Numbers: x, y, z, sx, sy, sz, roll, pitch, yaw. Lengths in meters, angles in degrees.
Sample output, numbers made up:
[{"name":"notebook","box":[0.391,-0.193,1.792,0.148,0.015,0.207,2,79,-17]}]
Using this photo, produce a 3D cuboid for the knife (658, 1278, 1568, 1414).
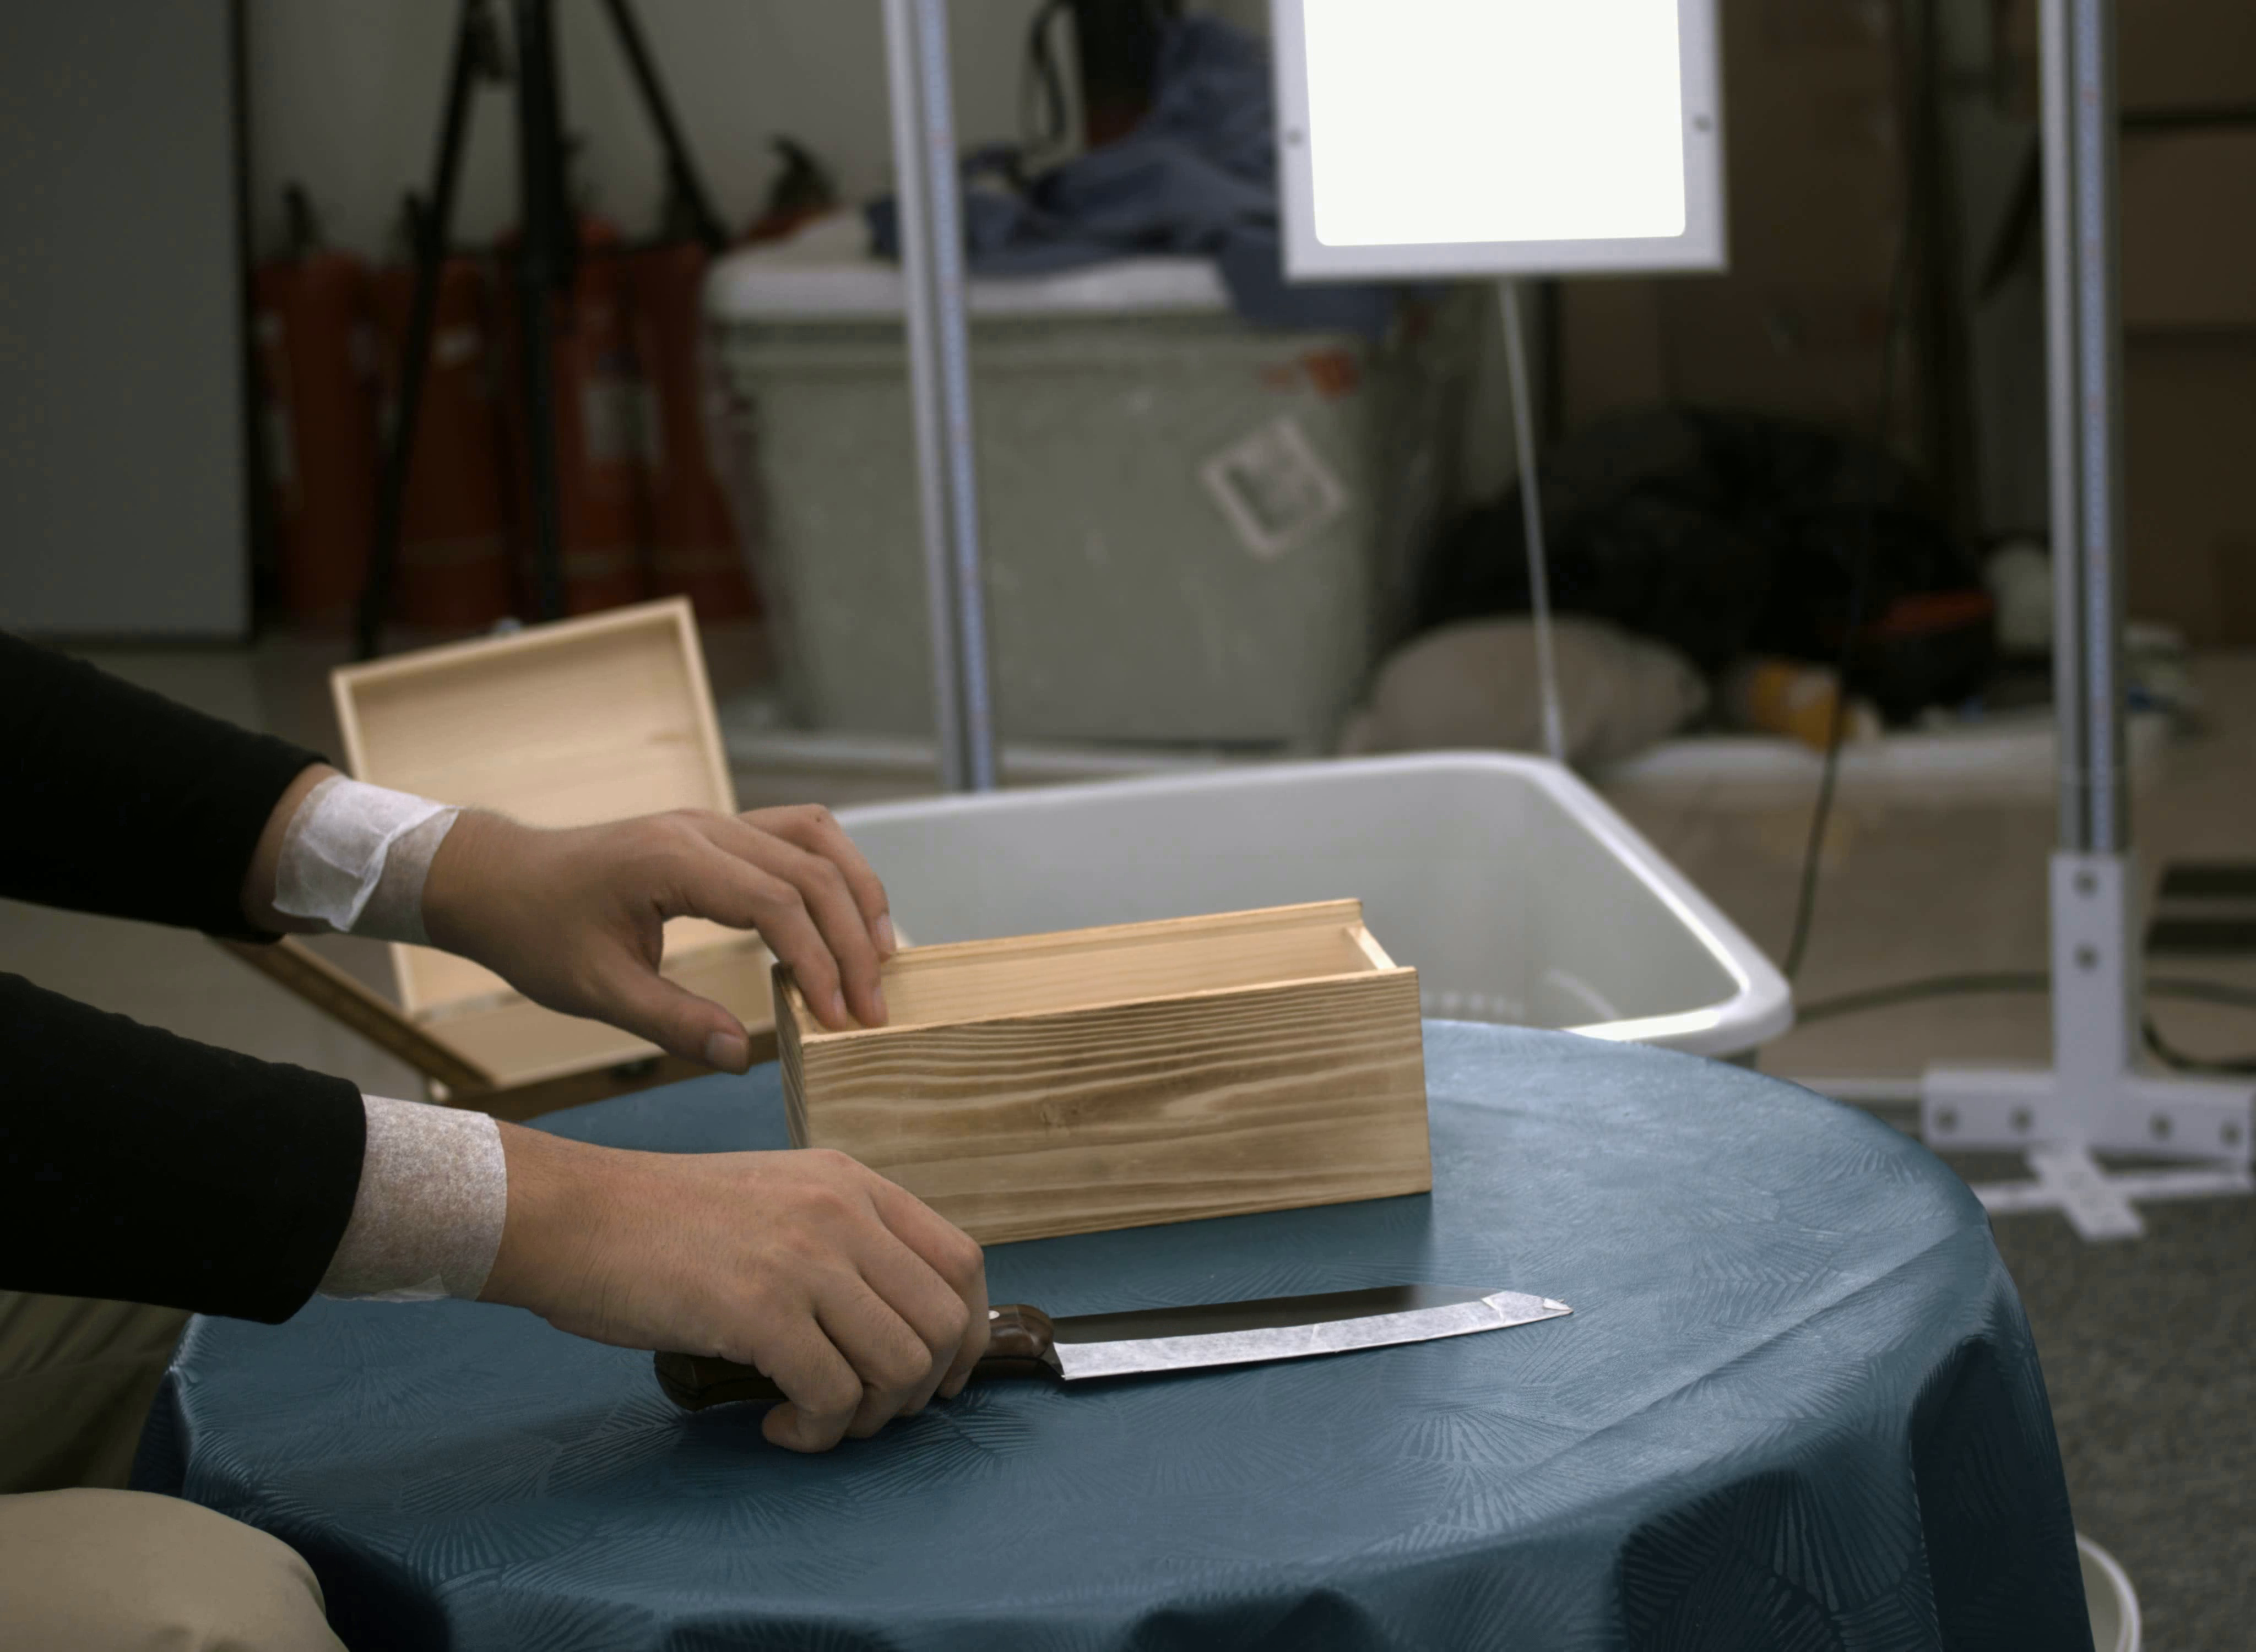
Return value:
[{"name":"knife","box":[-0.003,0.161,1.727,0.287,0.020,0.050,-4,21,-6]}]

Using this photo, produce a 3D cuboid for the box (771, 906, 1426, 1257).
[{"name":"box","box":[-0.012,0.086,1.899,0.210,0.080,0.108,-6,13,-6]}]
